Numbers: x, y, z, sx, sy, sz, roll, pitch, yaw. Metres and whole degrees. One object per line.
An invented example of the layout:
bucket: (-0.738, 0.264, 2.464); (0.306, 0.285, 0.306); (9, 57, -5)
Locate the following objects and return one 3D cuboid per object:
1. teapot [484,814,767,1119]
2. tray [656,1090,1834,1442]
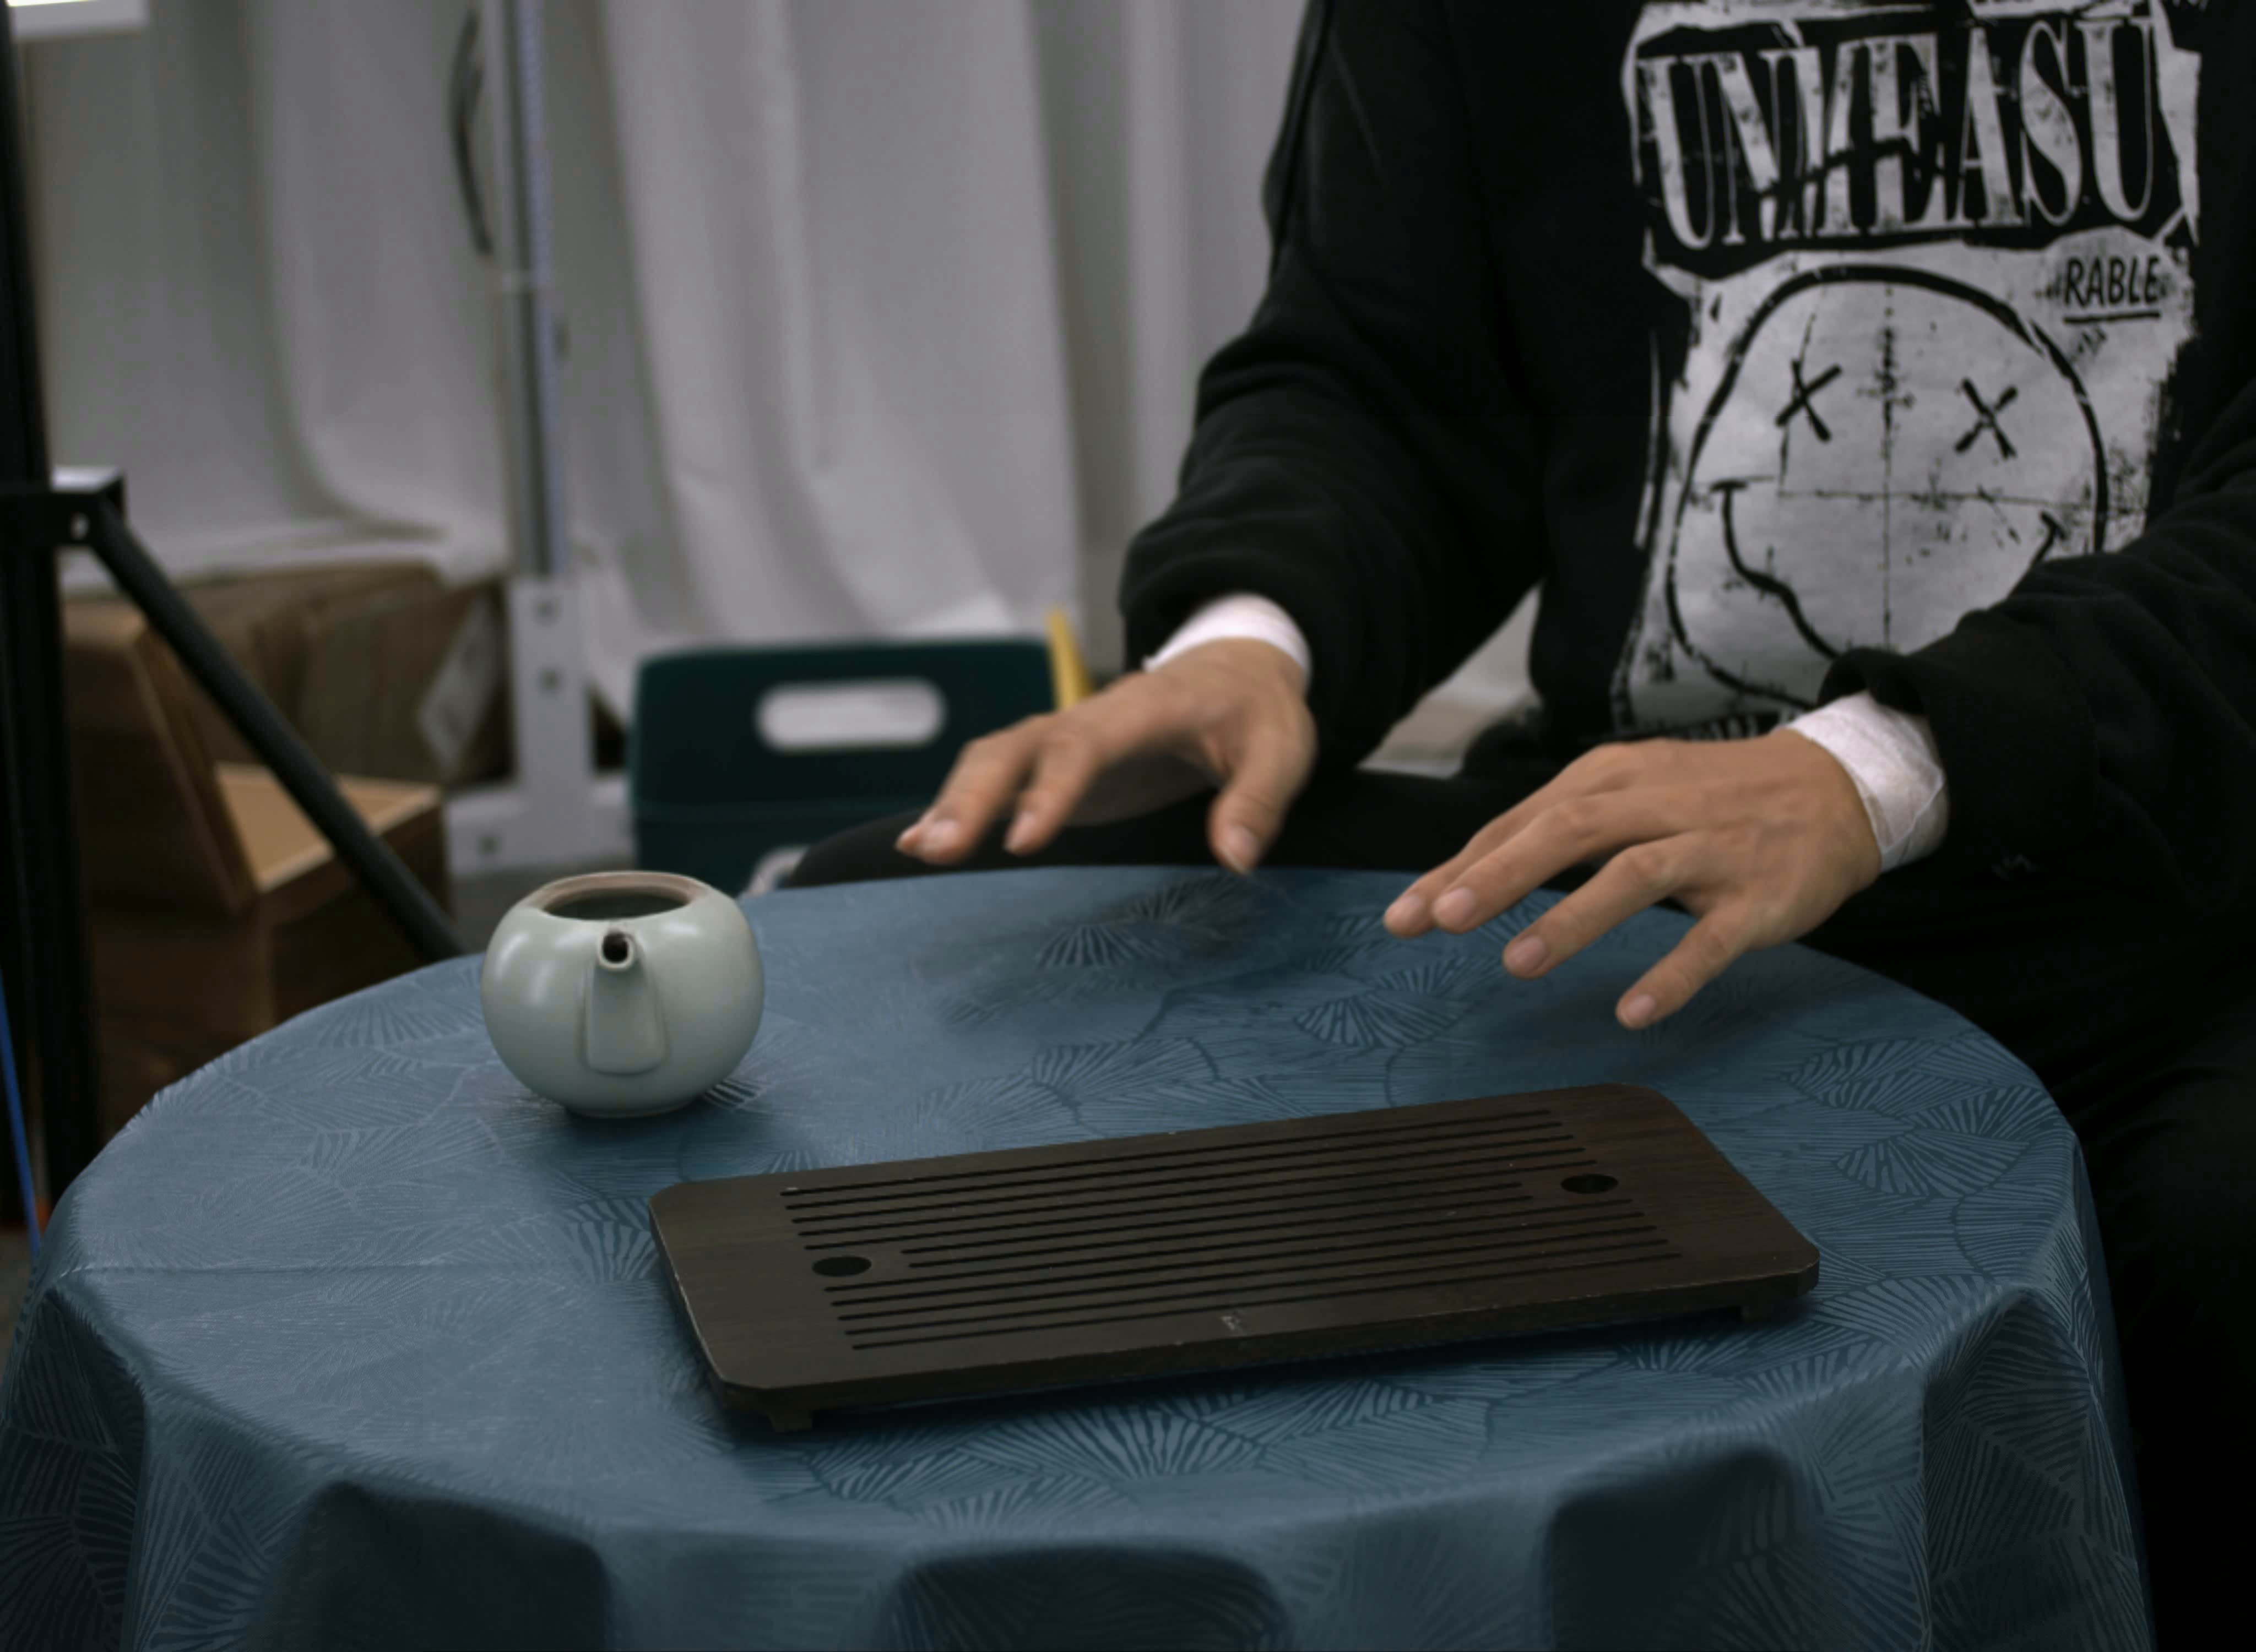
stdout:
teapot: (-0.156, 0.050, 1.654); (0.088, 0.074, 0.145); (-3, 17, -2)
tray: (0.029, 0.121, 1.473); (0.302, 0.018, 0.172); (-5, 16, -9)
